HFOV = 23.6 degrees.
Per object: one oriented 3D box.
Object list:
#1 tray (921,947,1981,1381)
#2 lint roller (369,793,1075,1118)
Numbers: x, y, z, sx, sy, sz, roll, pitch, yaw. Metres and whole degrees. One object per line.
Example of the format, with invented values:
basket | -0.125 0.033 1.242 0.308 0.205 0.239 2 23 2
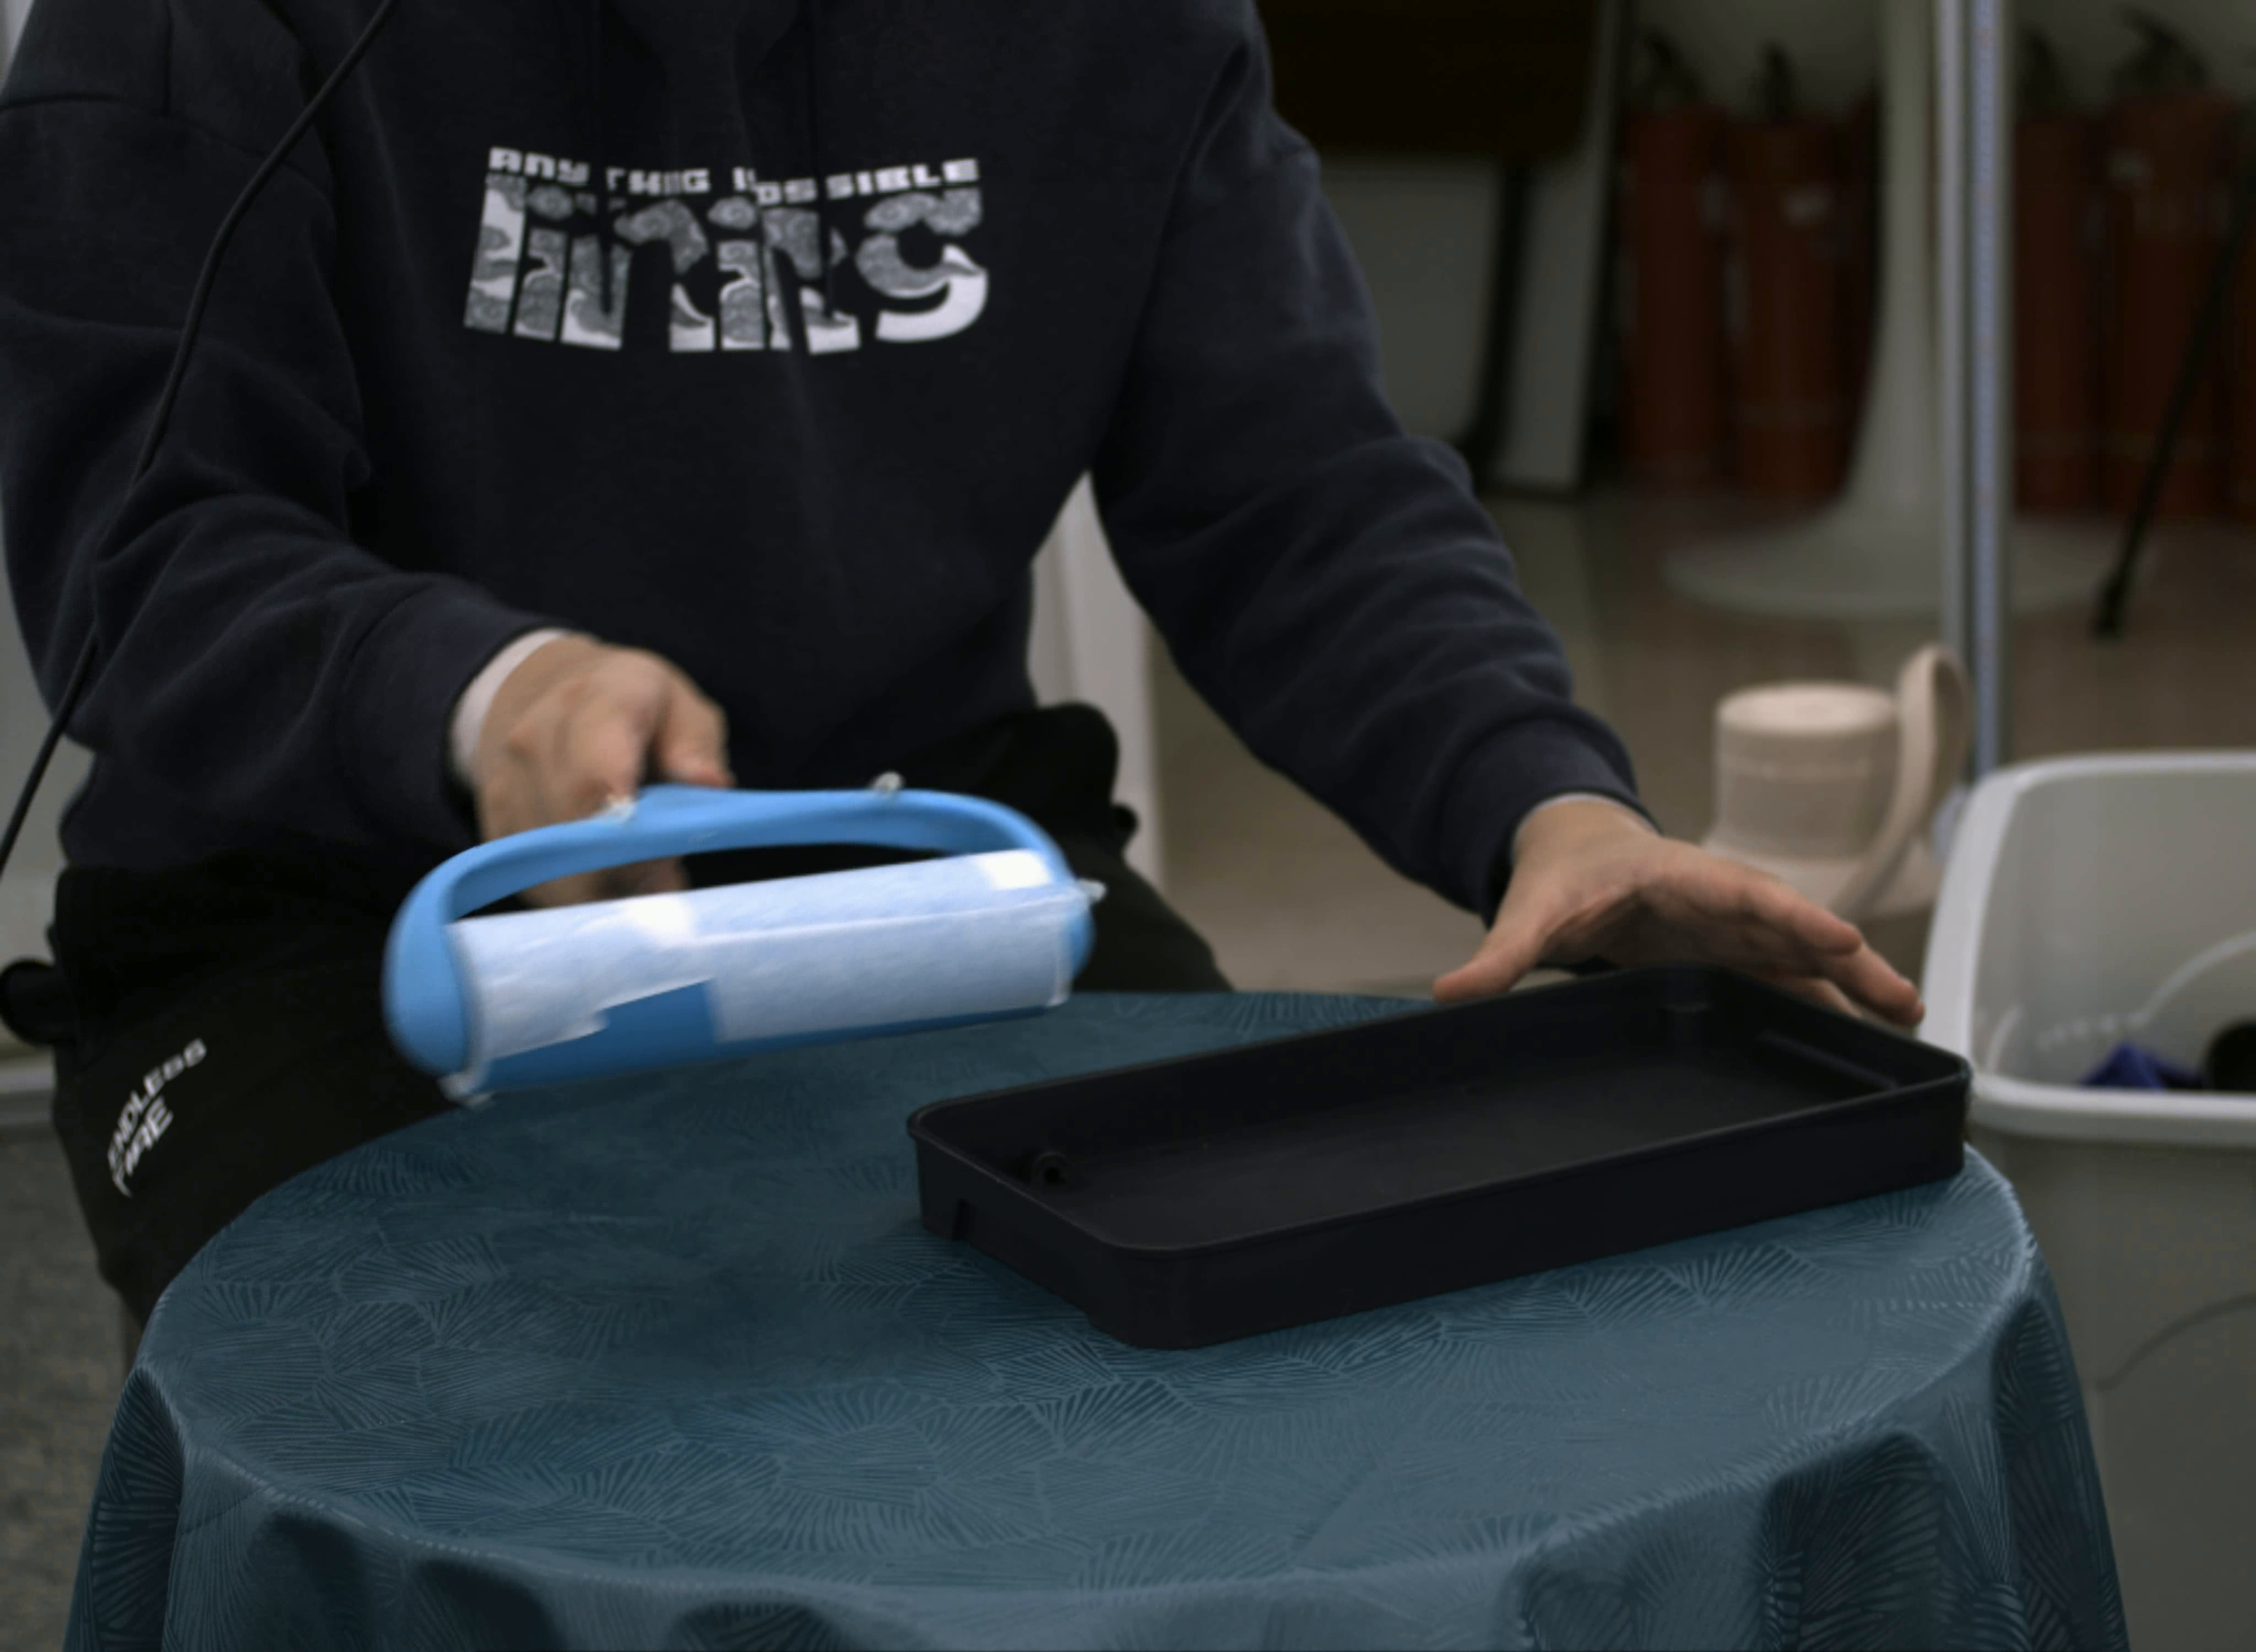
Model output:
tray | 0.106 0.105 1.750 0.311 0.037 0.186 -13 16 -25
lint roller | -0.147 0.022 1.706 0.224 0.068 0.182 -11 28 -23
